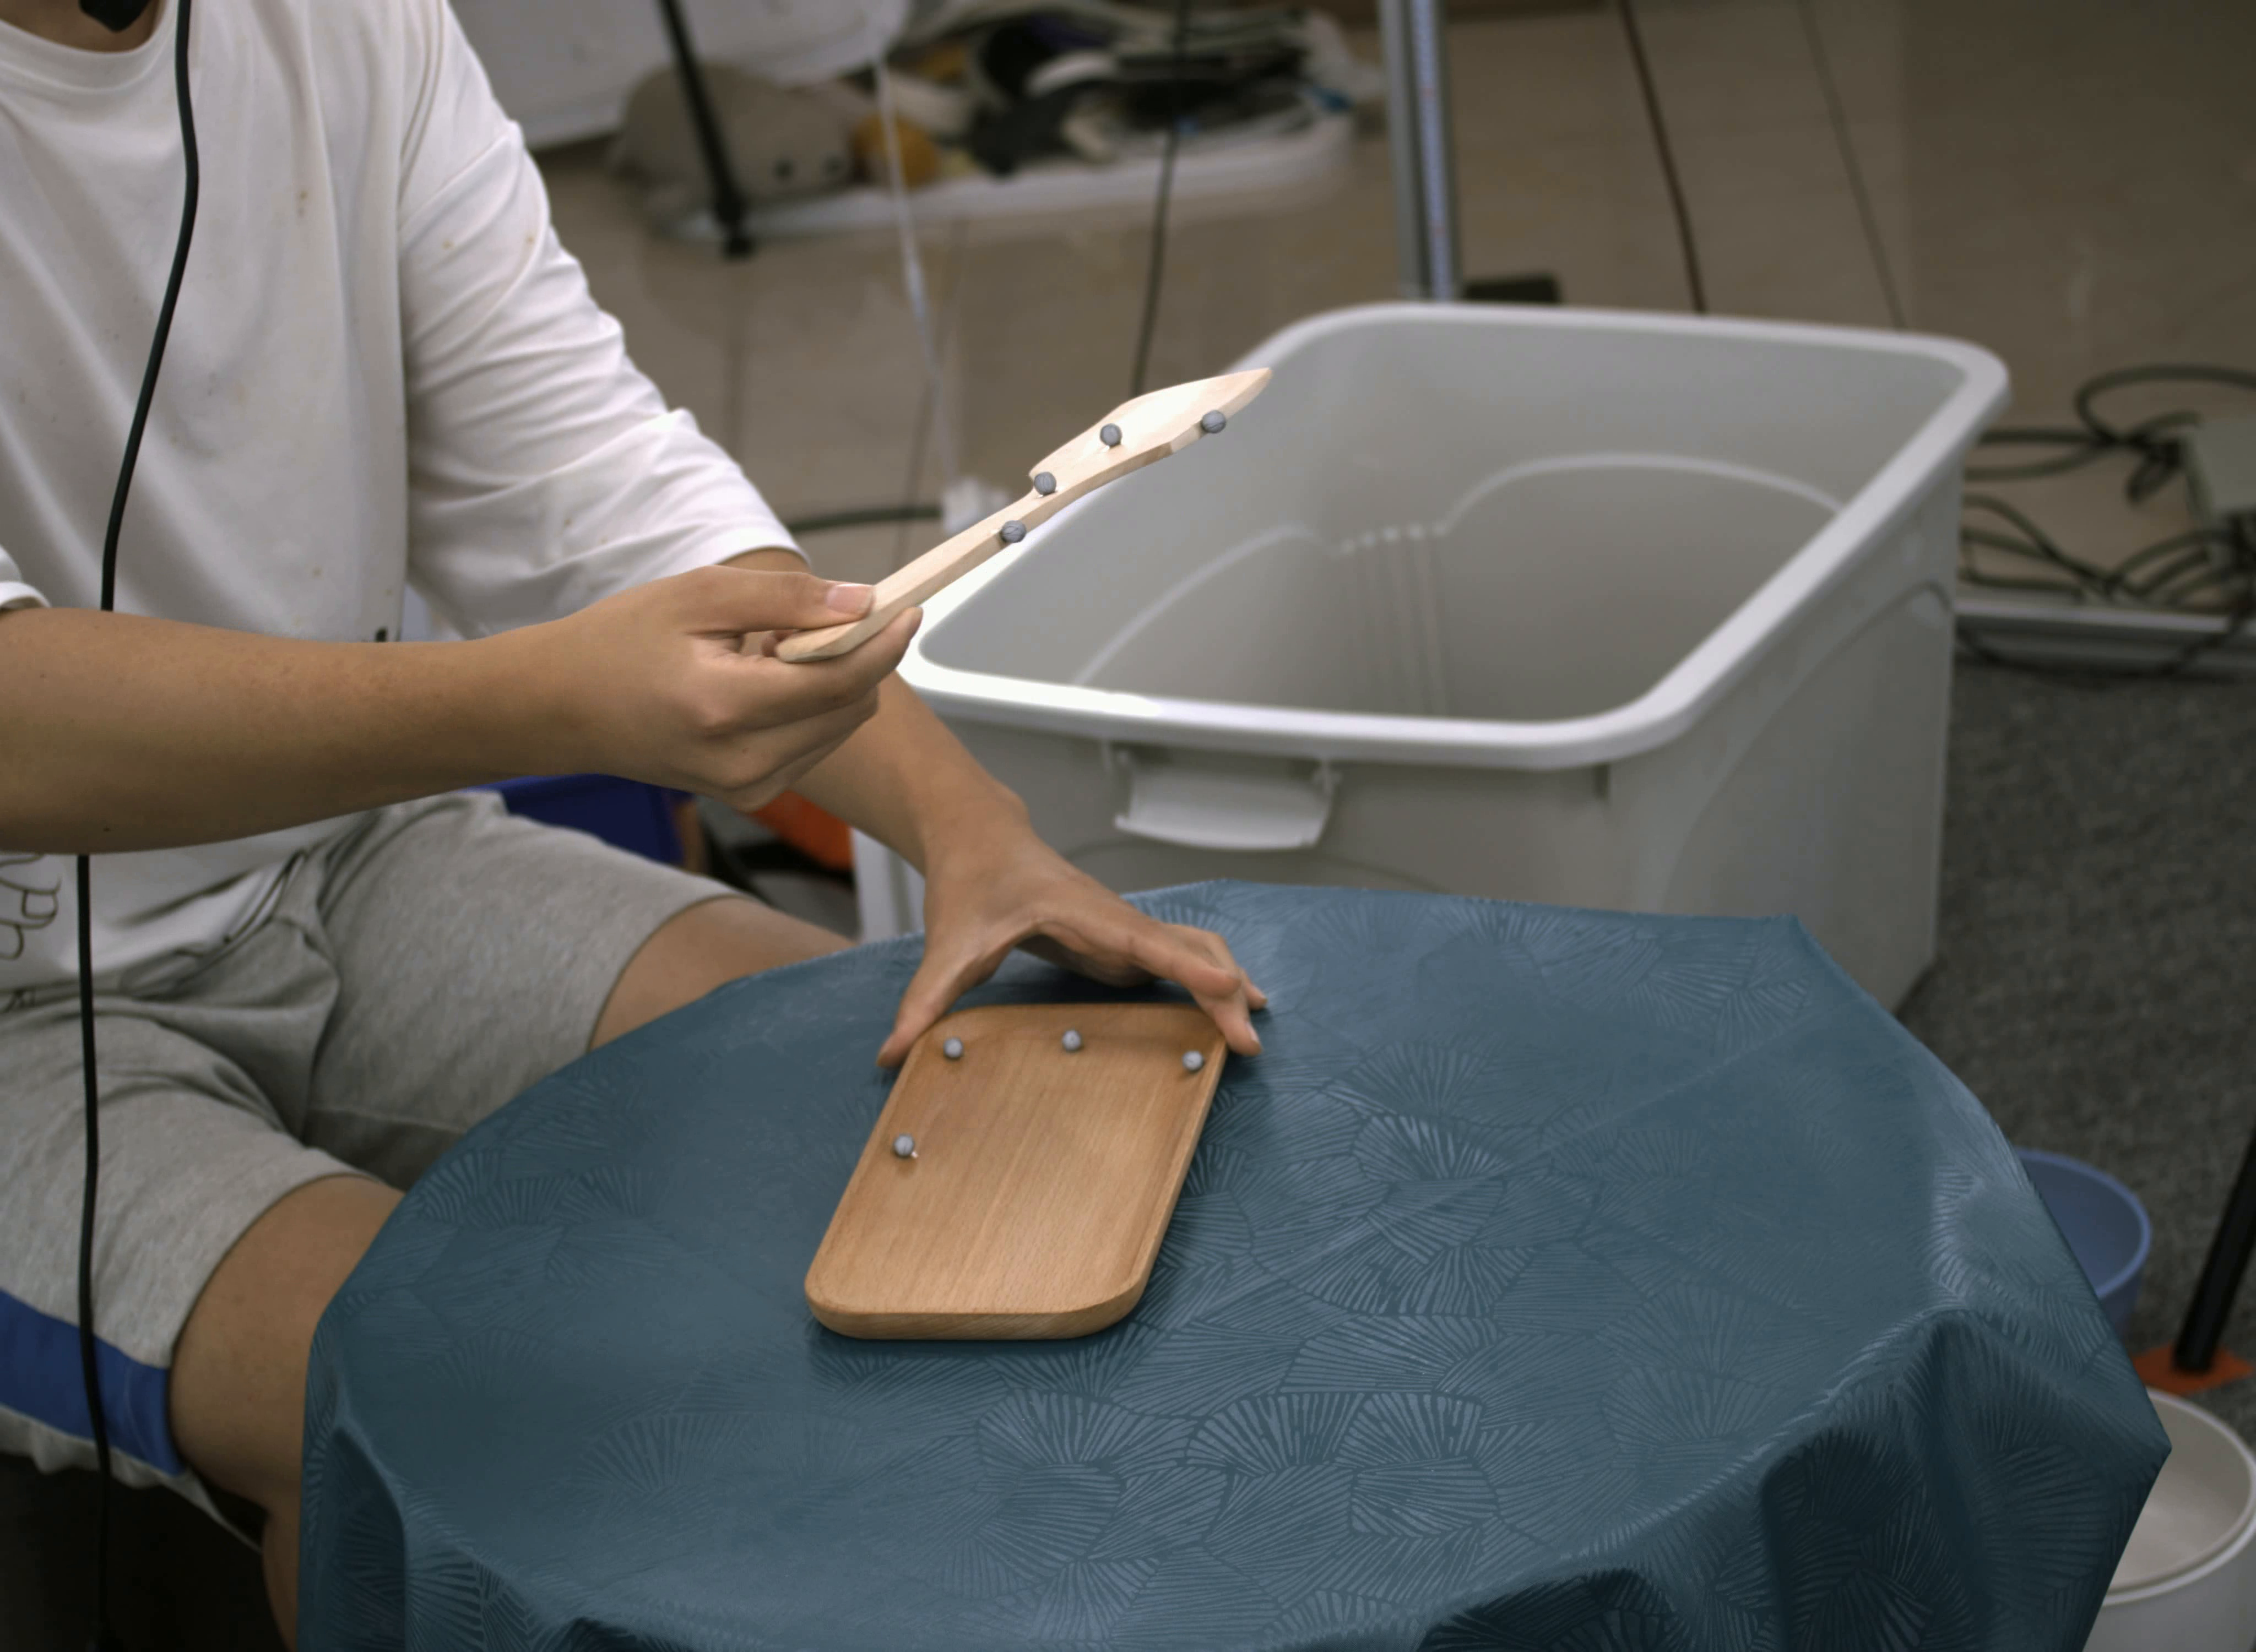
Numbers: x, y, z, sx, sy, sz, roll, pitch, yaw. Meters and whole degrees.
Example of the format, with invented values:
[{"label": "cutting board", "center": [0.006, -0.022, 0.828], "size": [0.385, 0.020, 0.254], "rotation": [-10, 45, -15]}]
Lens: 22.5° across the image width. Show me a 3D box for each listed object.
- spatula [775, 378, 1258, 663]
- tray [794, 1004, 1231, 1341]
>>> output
[{"label": "spatula", "center": [-0.043, -0.111, 2.049], "size": [0.072, 0.011, 0.290], "rotation": [-10, 17, 33]}, {"label": "tray", "center": [-0.040, 0.130, 2.158], "size": [0.130, 0.023, 0.247], "rotation": [-3, 25, 14]}]
